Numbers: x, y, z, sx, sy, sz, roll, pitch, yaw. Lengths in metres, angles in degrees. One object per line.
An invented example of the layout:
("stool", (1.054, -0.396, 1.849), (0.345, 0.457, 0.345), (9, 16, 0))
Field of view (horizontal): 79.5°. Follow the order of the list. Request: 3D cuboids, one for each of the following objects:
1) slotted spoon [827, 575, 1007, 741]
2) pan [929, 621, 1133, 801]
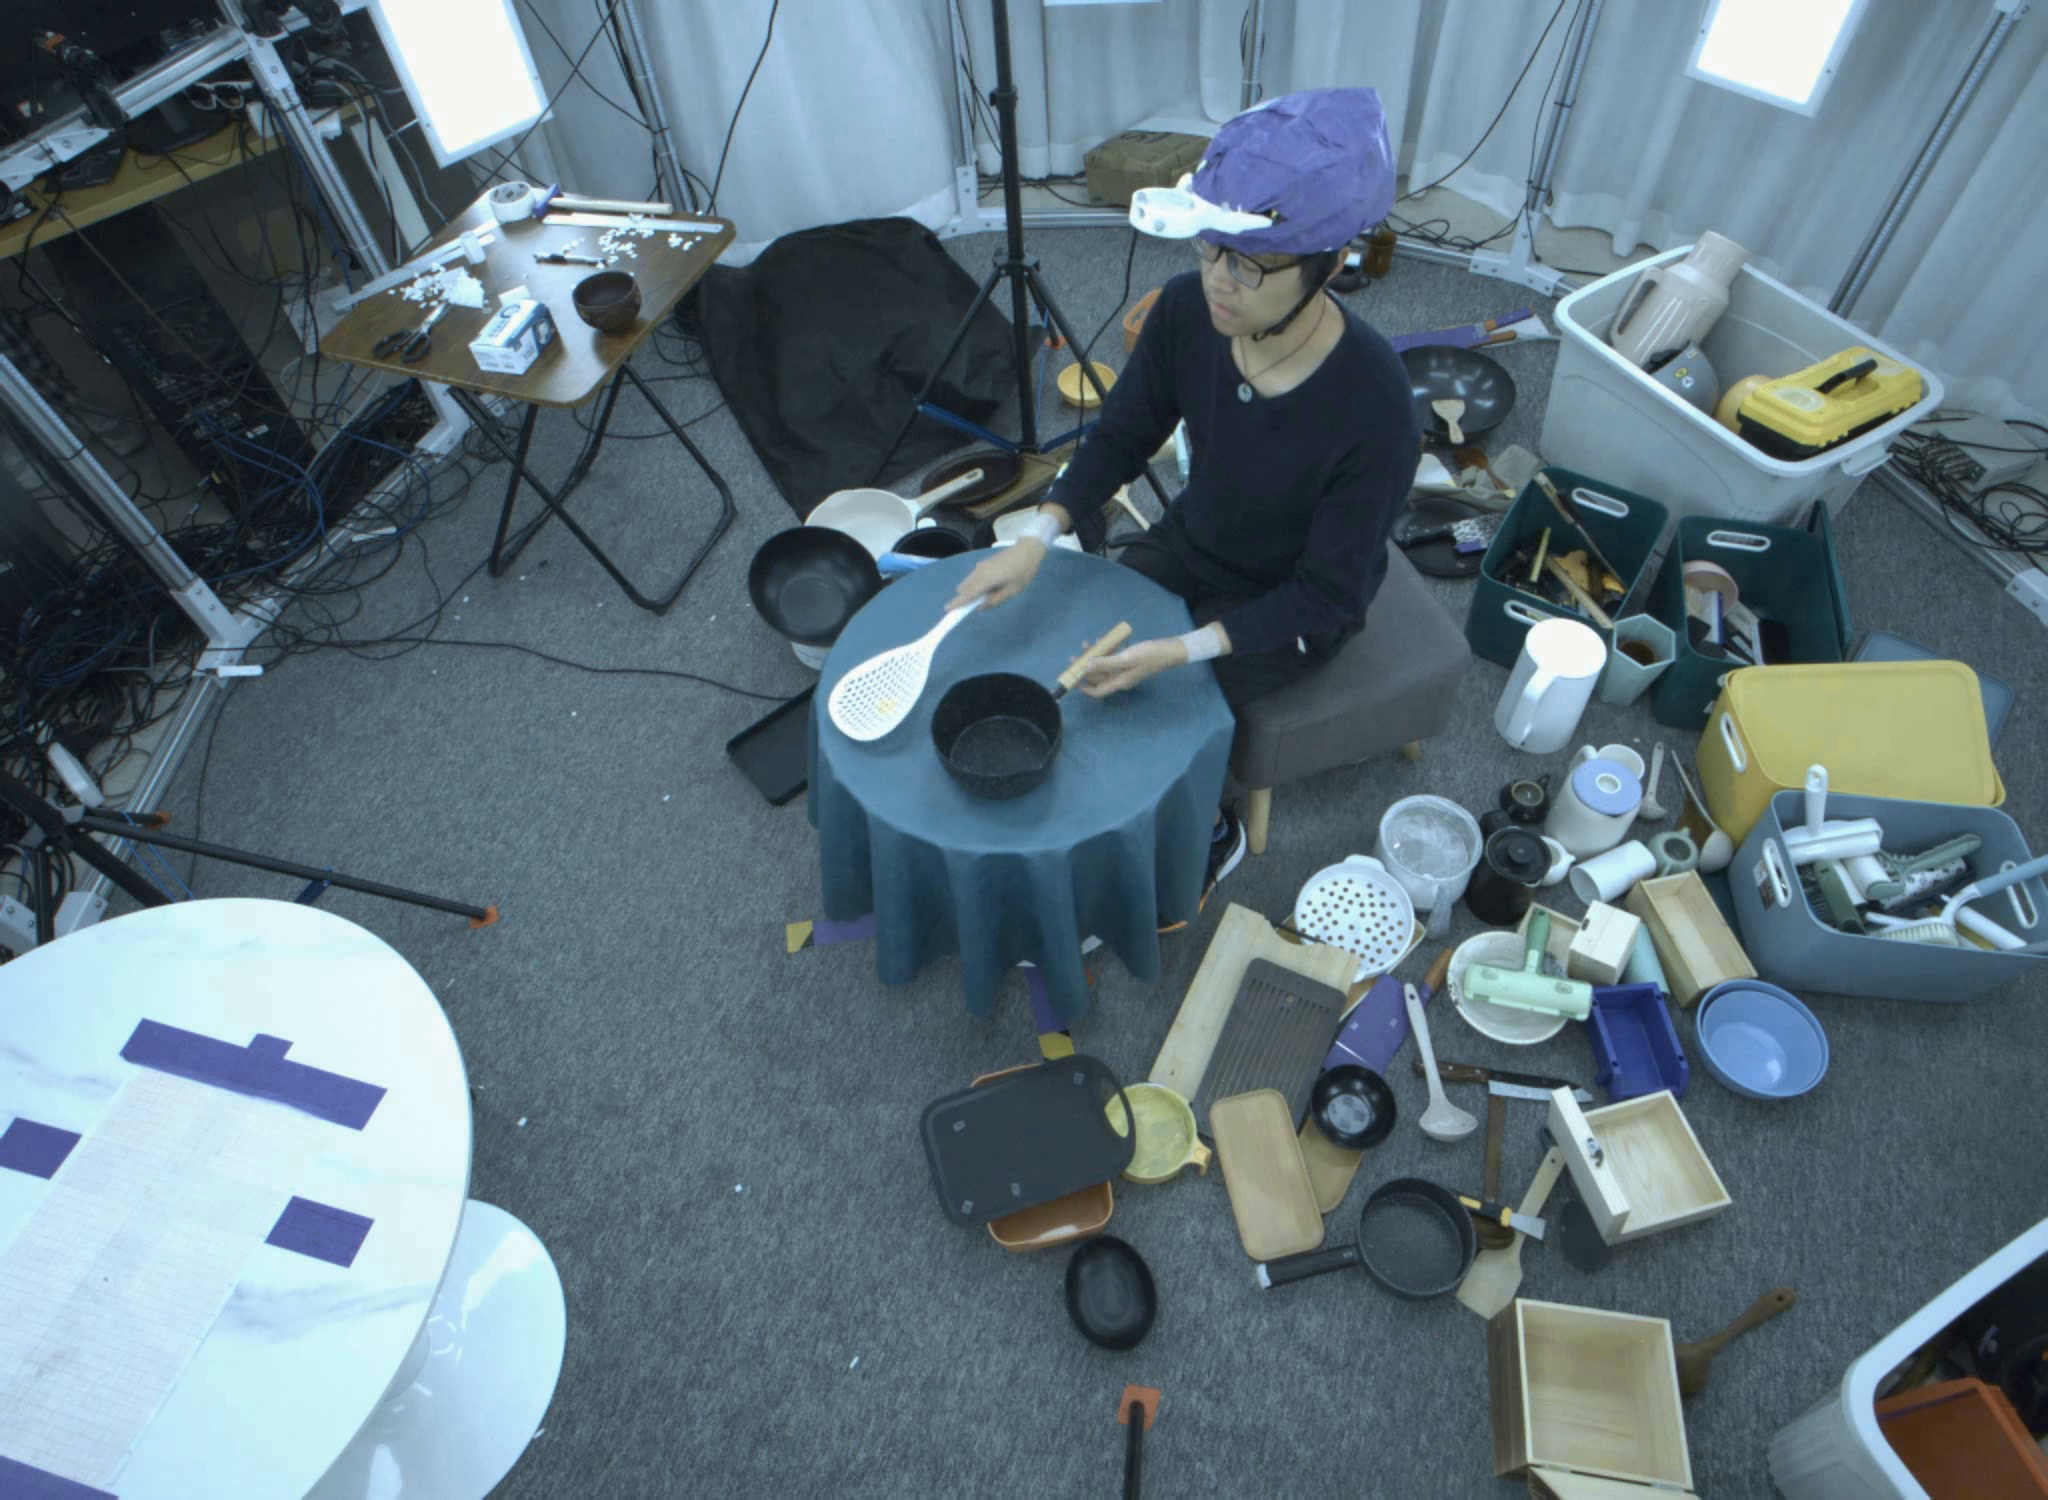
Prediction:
("slotted spoon", (-0.147, -0.146, 1.834), (0.134, 0.051, 0.348), (36, 79, 32))
("pan", (0.022, -0.064, 1.765), (0.345, 0.109, 0.203), (-36, 60, -20))
